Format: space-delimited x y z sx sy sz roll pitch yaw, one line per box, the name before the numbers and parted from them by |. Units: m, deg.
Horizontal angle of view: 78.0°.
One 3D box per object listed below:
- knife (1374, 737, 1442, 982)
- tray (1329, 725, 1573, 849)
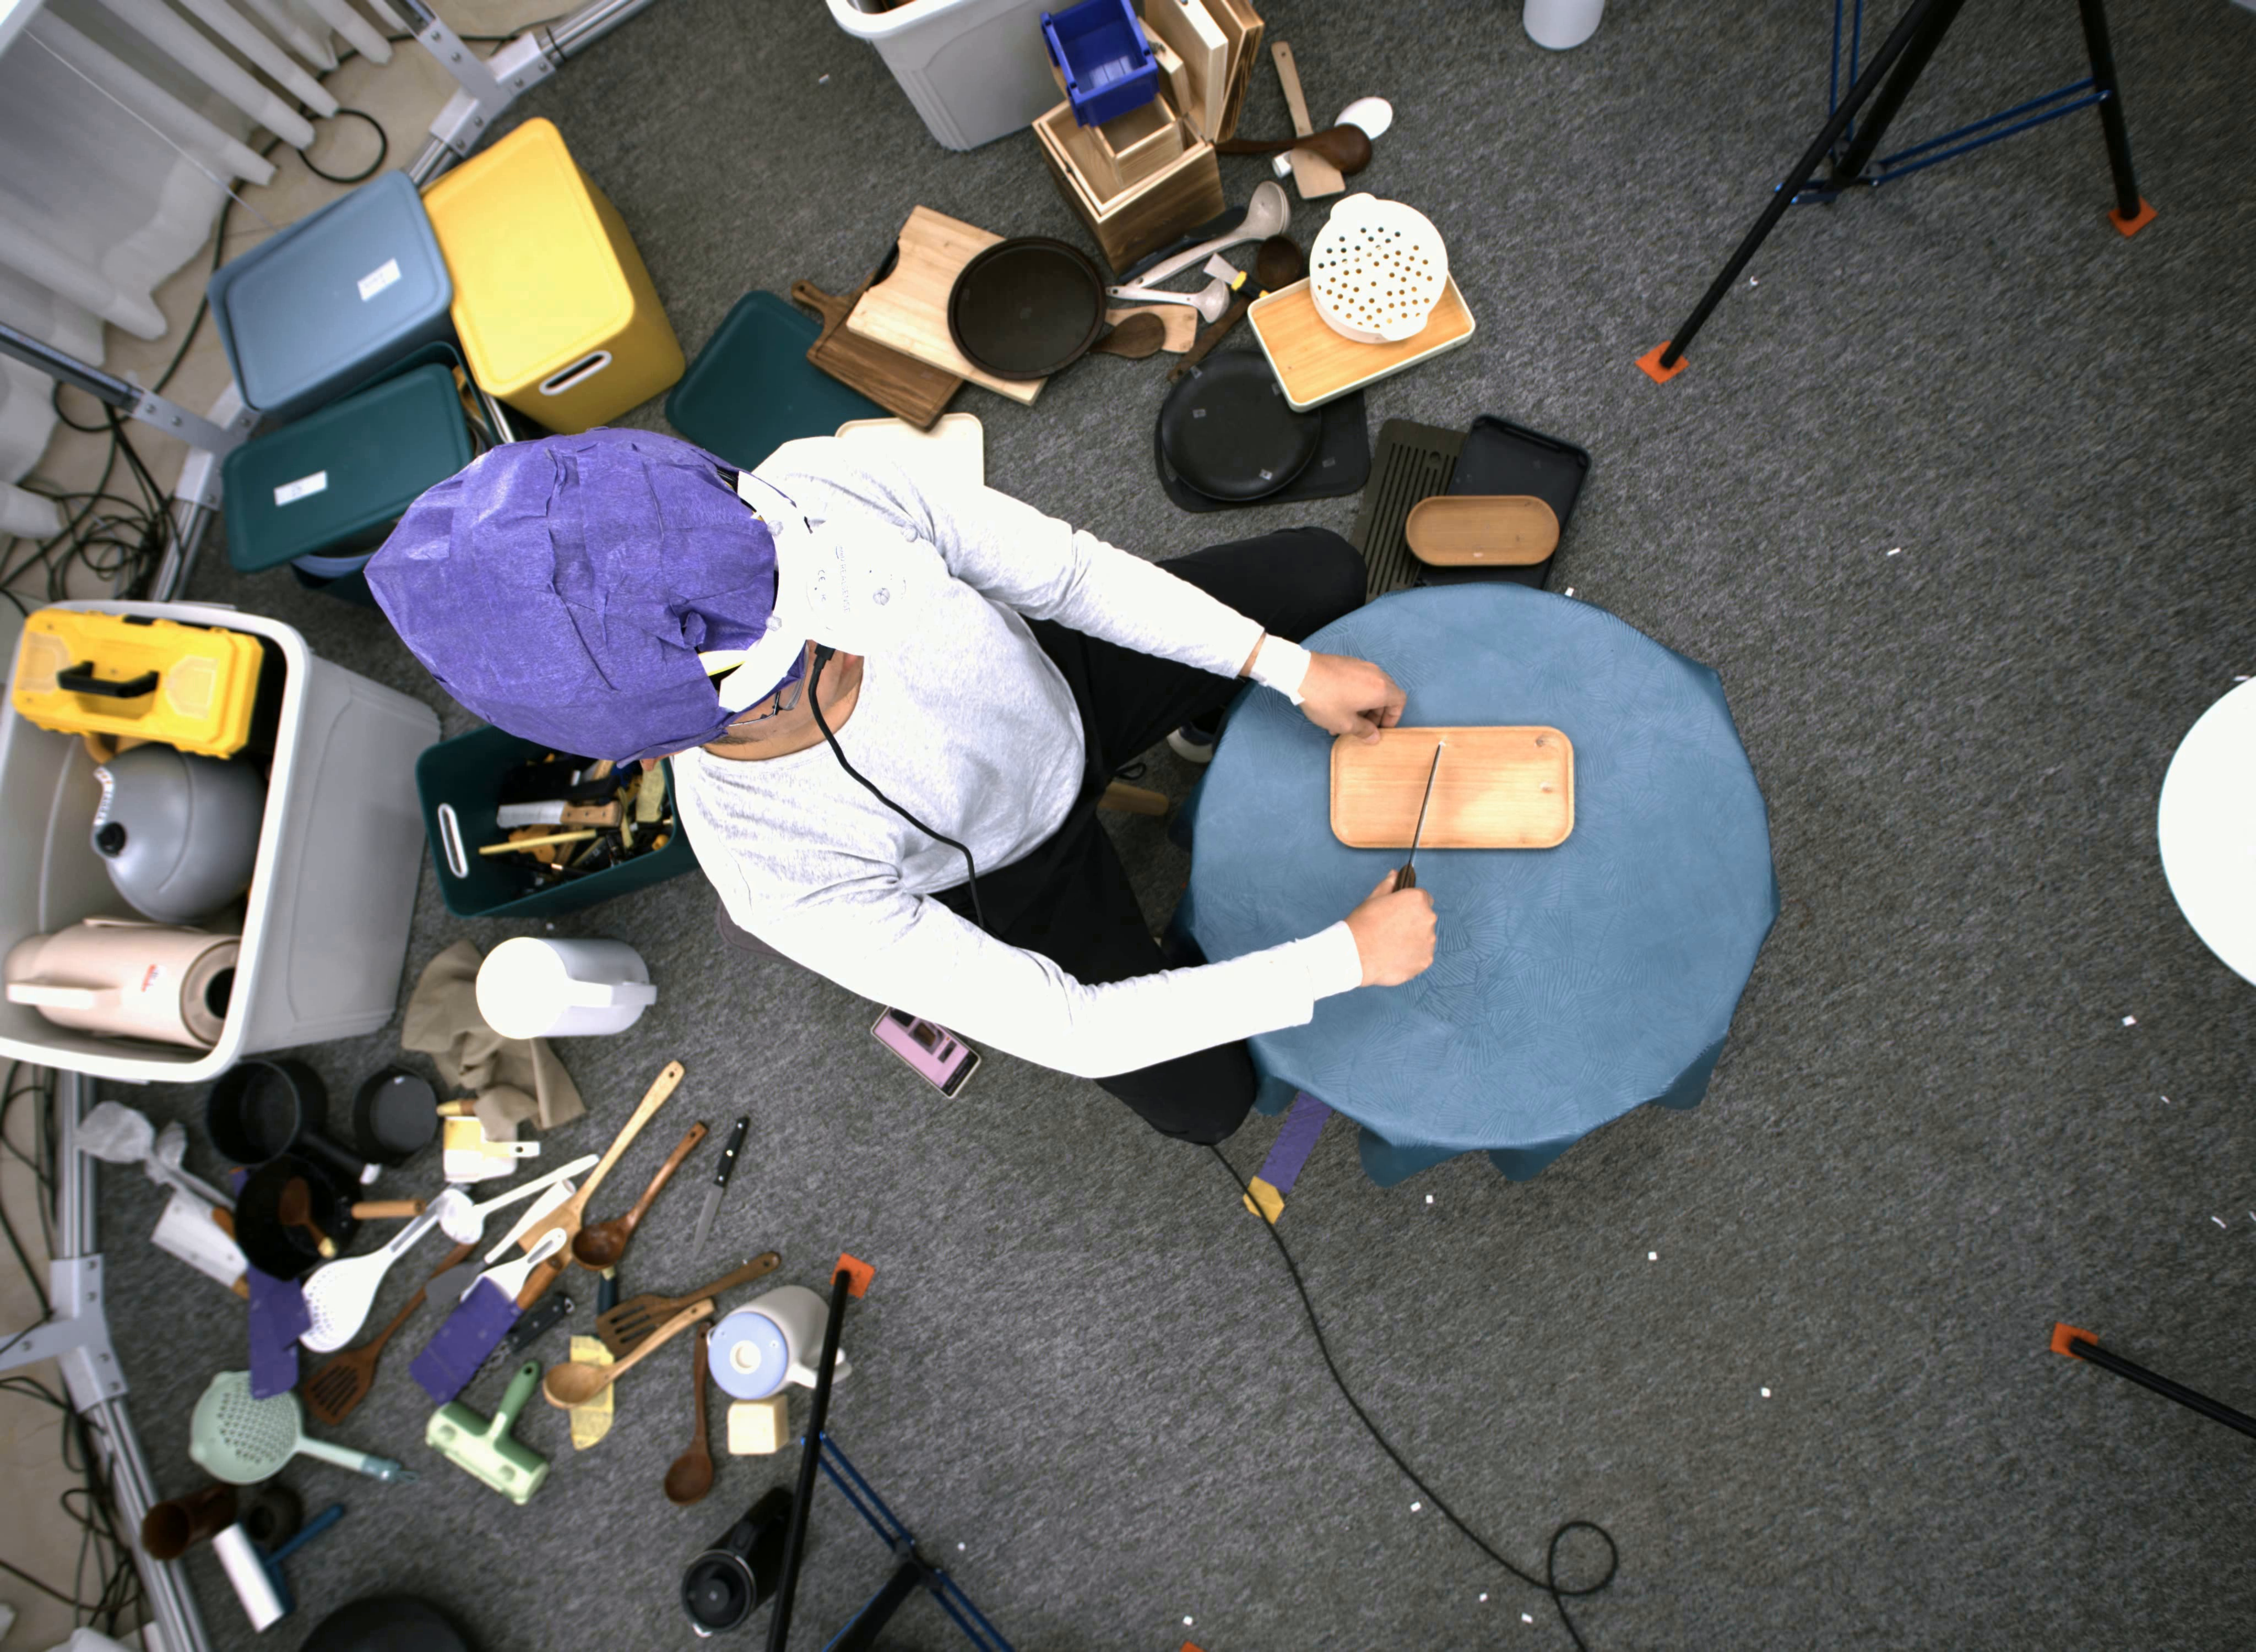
knife | 0.285 0.027 1.376 0.020 0.051 0.283 13 65 14
tray | 0.338 -0.043 1.444 0.251 0.023 0.130 1 87 11
